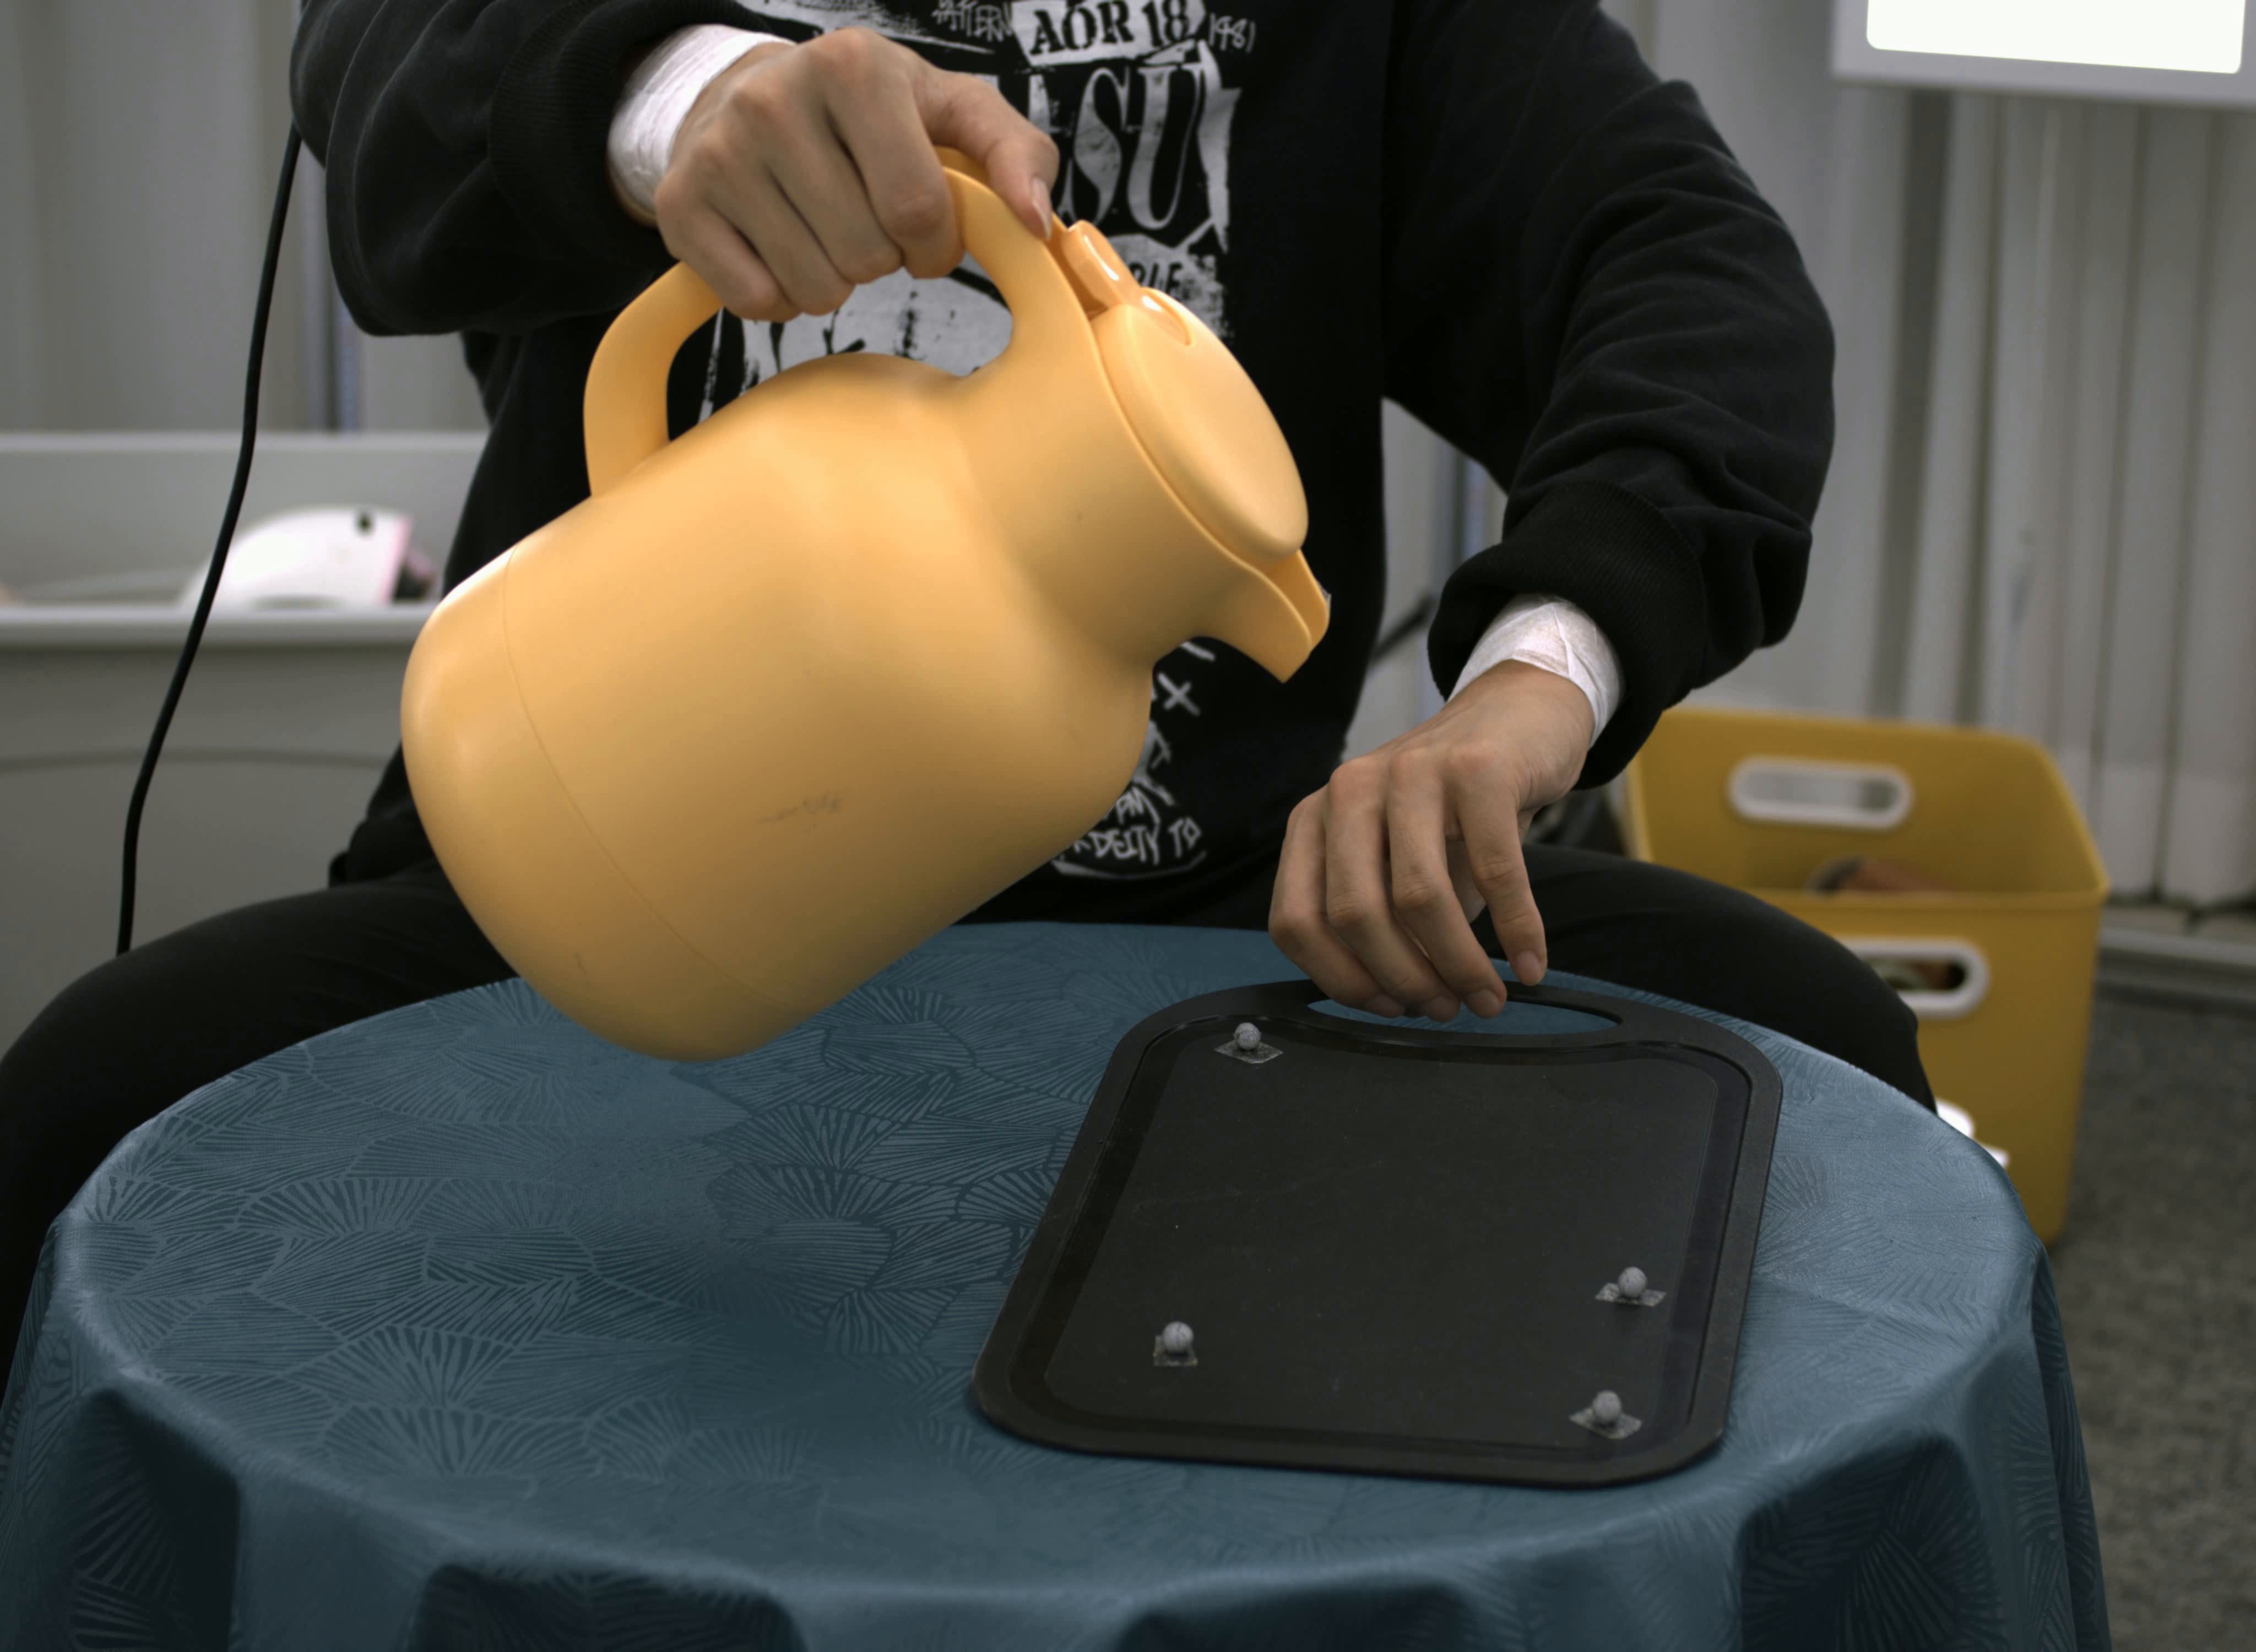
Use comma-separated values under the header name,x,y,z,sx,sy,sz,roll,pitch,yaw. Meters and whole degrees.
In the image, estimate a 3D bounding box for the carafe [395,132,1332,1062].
name,x,y,z,sx,sy,sz,roll,pitch,yaw
carafe,-0.082,-0.071,1.502,0.259,0.203,0.163,-32,5,16

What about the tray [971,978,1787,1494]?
name,x,y,z,sx,sy,sz,roll,pitch,yaw
tray,0.081,0.110,1.551,0.210,0.010,0.324,4,23,10
